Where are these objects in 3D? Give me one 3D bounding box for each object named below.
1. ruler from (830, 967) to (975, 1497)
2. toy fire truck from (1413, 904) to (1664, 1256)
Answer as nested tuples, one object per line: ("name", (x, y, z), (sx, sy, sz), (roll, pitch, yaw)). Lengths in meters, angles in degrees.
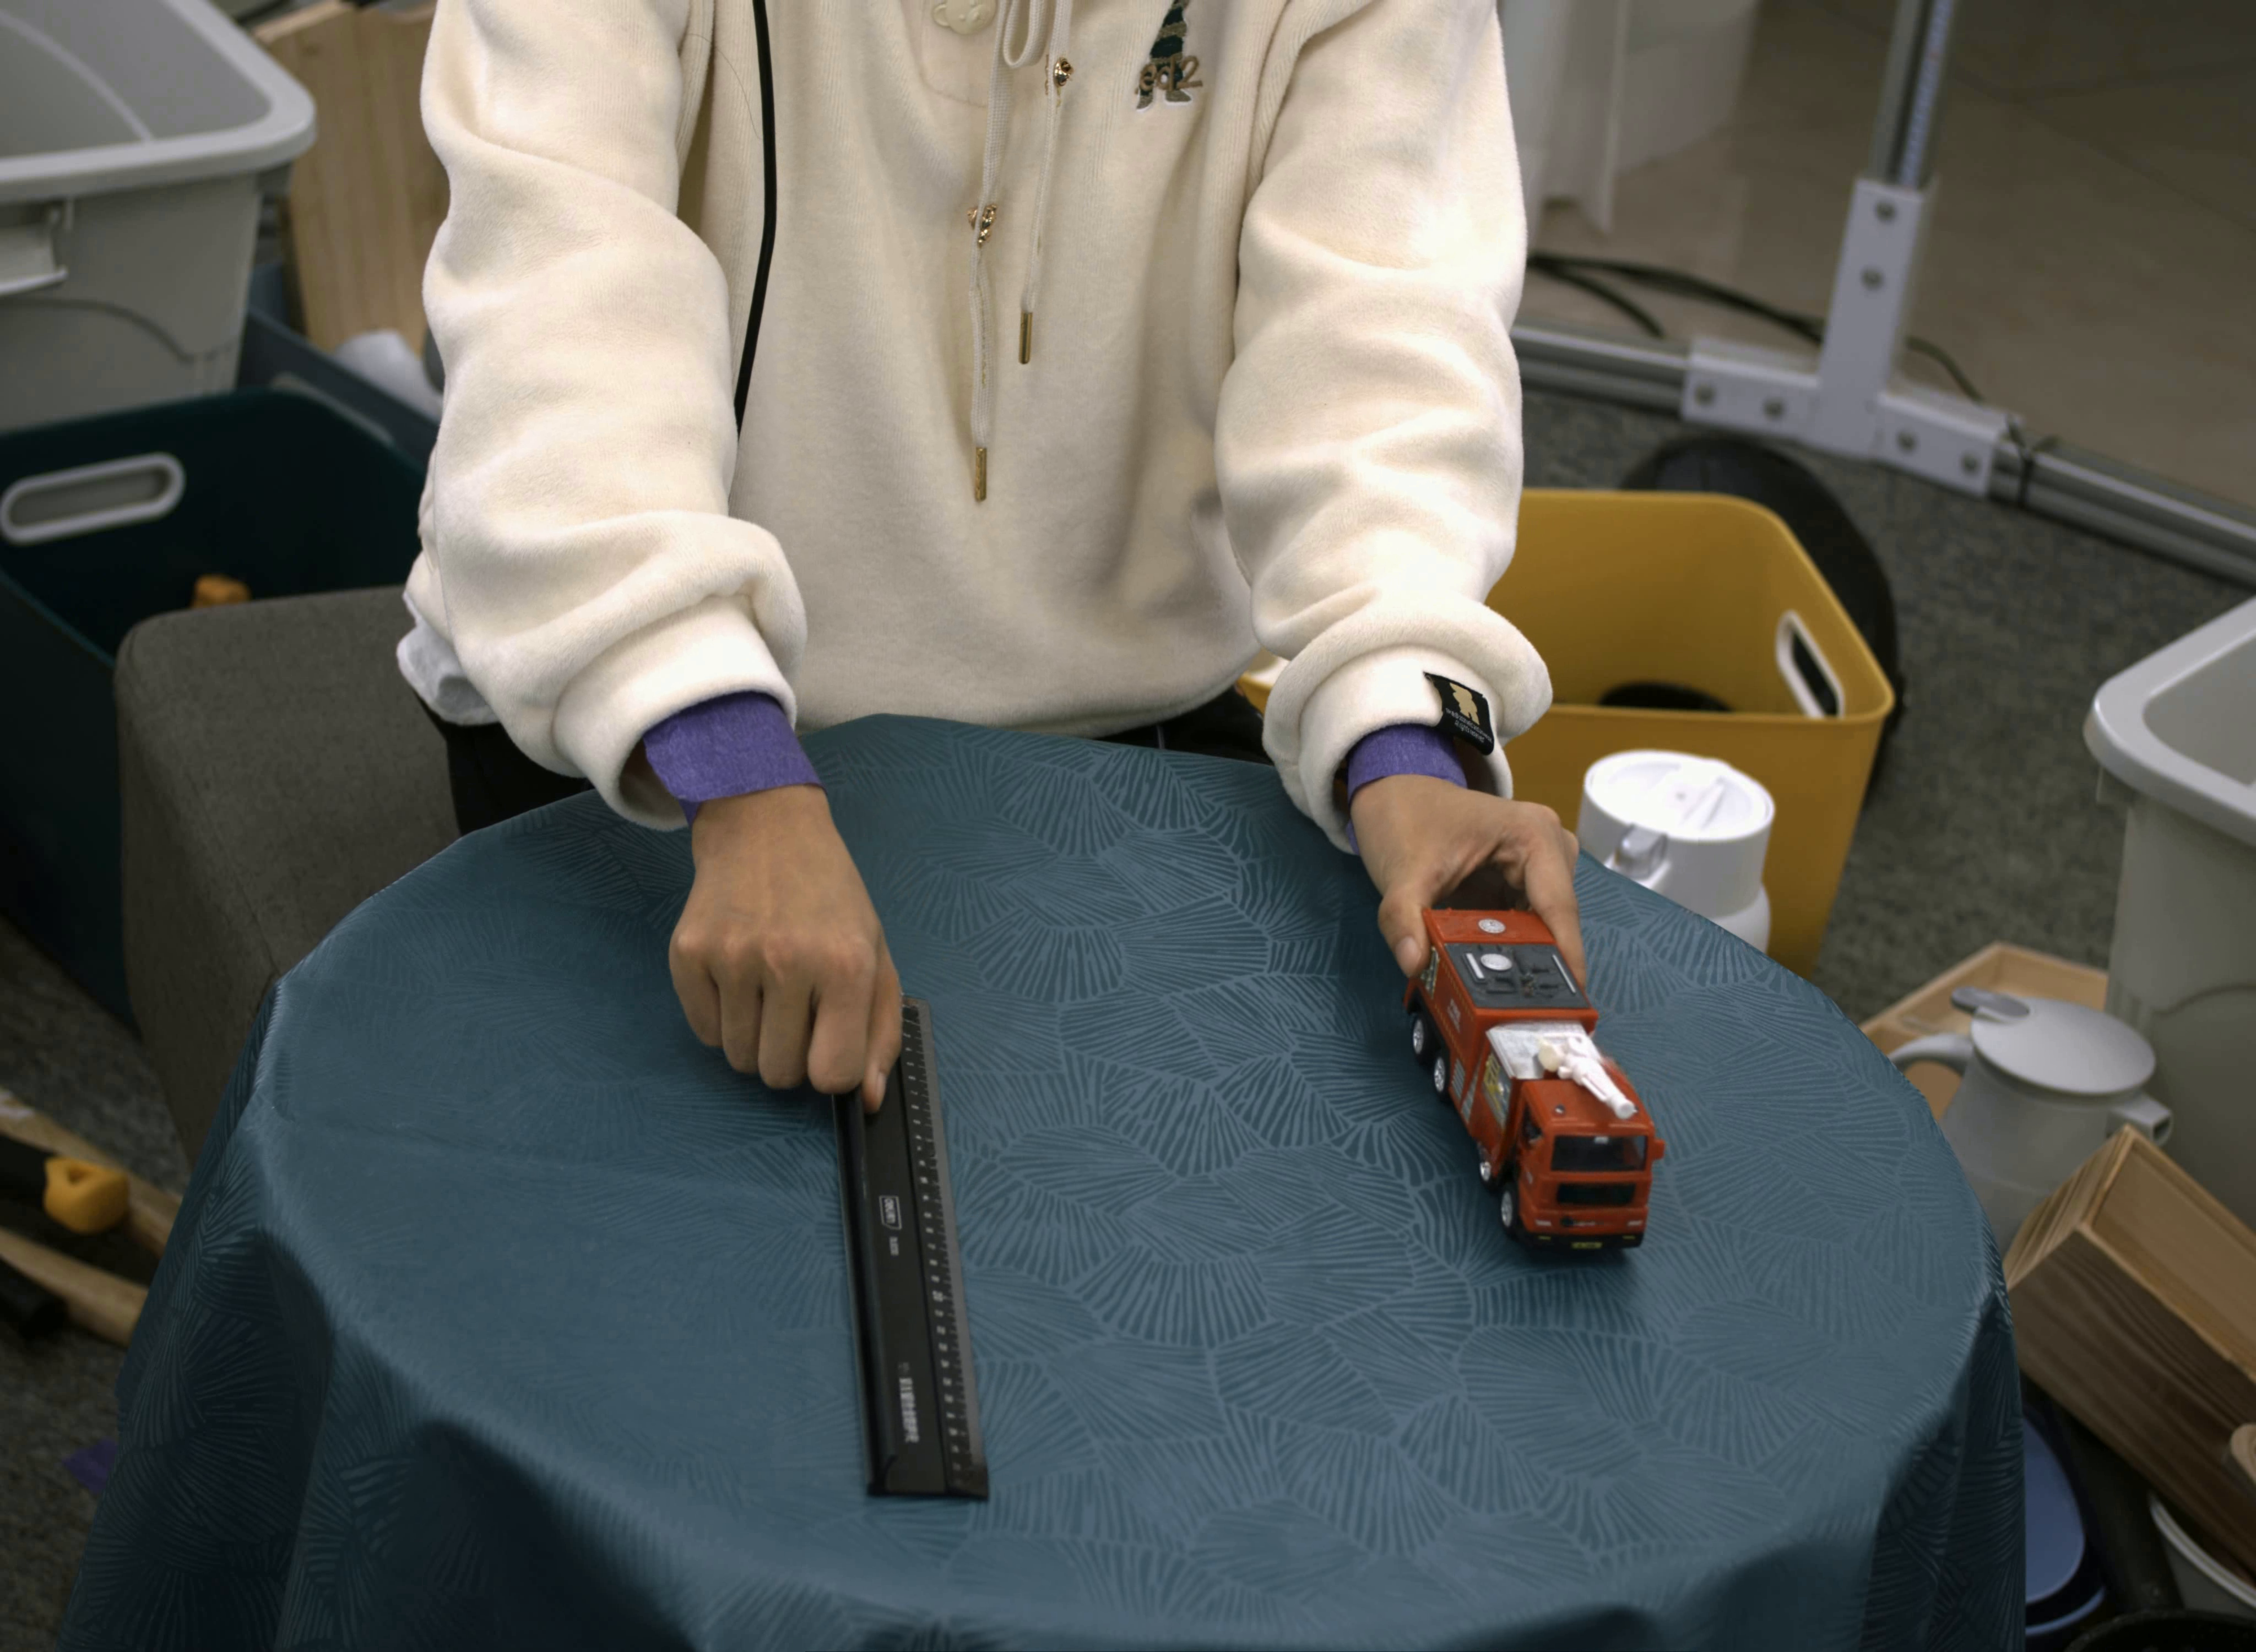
("ruler", (-0.075, 0.128, 1.760), (0.039, 0.017, 0.315), (6, 26, -8))
("toy fire truck", (0.141, 0.086, 1.841), (0.053, 0.070, 0.169), (0, 26, -14))
